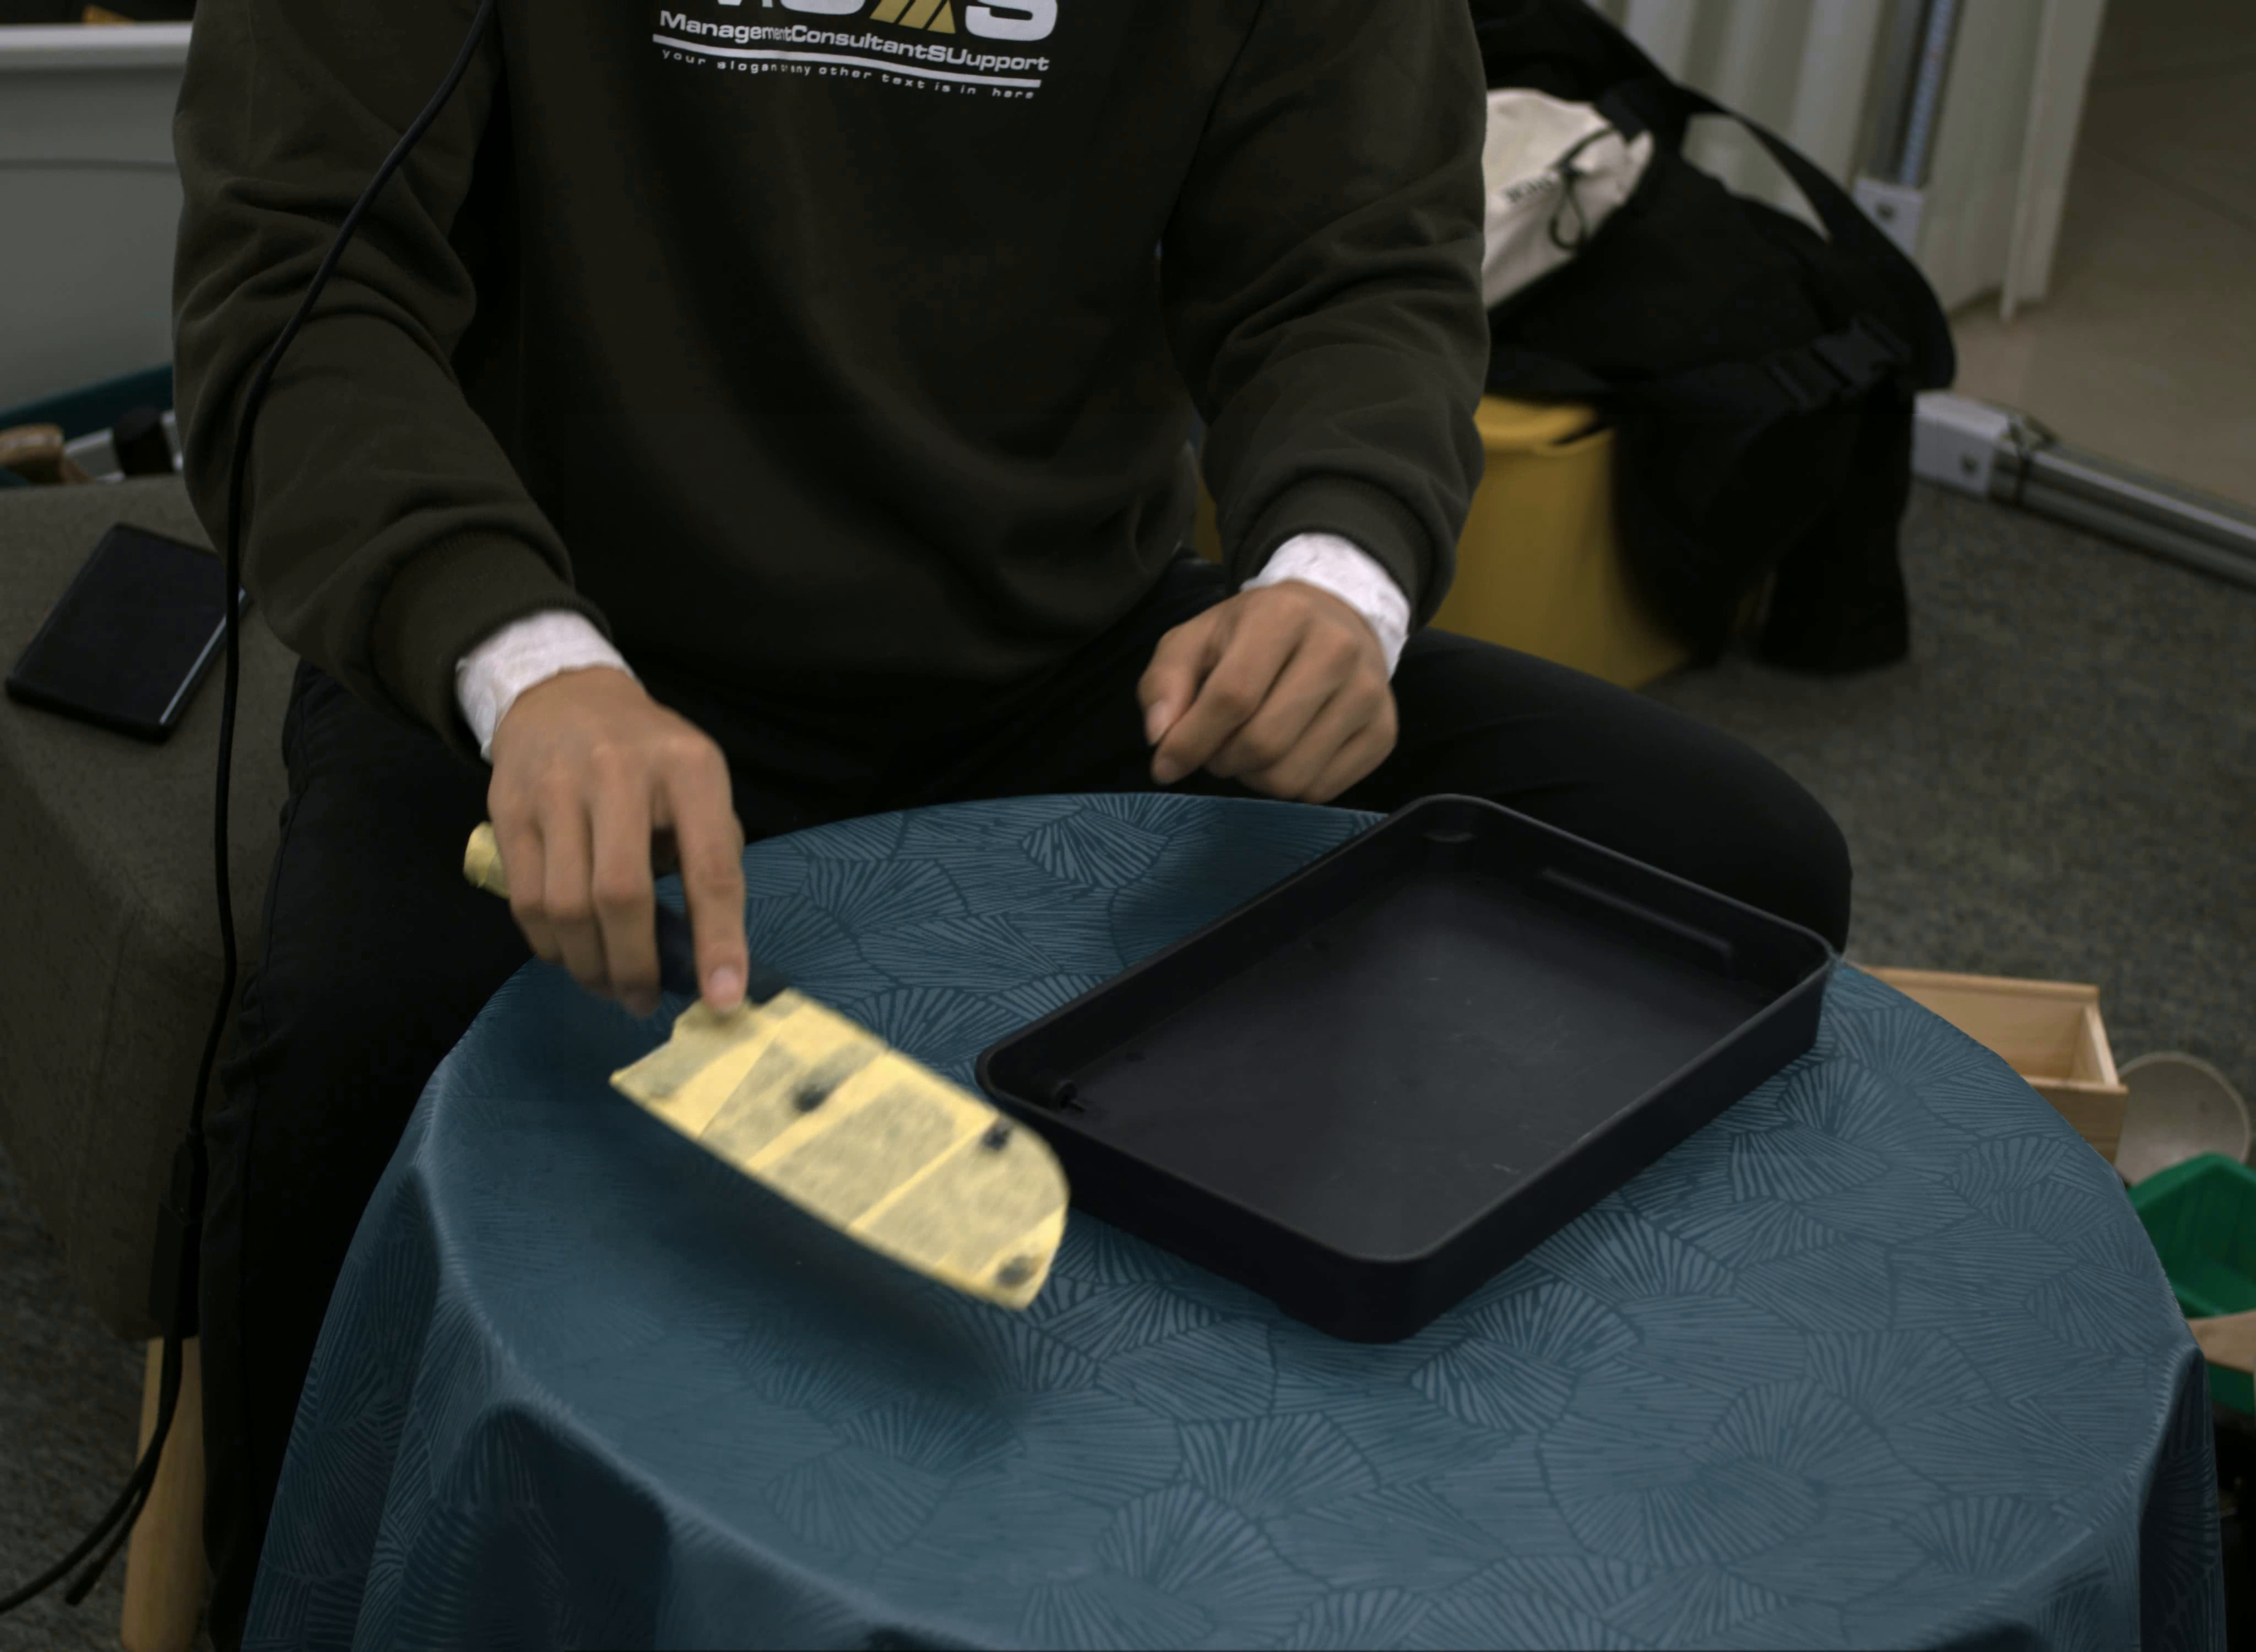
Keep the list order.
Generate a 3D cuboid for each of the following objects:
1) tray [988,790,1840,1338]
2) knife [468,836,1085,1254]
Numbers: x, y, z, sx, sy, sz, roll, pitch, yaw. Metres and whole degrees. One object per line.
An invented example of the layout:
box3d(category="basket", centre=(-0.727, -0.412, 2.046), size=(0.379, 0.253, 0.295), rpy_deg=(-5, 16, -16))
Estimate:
box3d(category="tray", centre=(0.105, 0.077, 1.882), size=(0.185, 0.037, 0.317), rpy_deg=(21, 30, 28))
box3d(category="knife", centre=(-0.125, 0.072, 1.751), size=(0.291, 0.027, 0.081), rpy_deg=(29, 46, 34))
